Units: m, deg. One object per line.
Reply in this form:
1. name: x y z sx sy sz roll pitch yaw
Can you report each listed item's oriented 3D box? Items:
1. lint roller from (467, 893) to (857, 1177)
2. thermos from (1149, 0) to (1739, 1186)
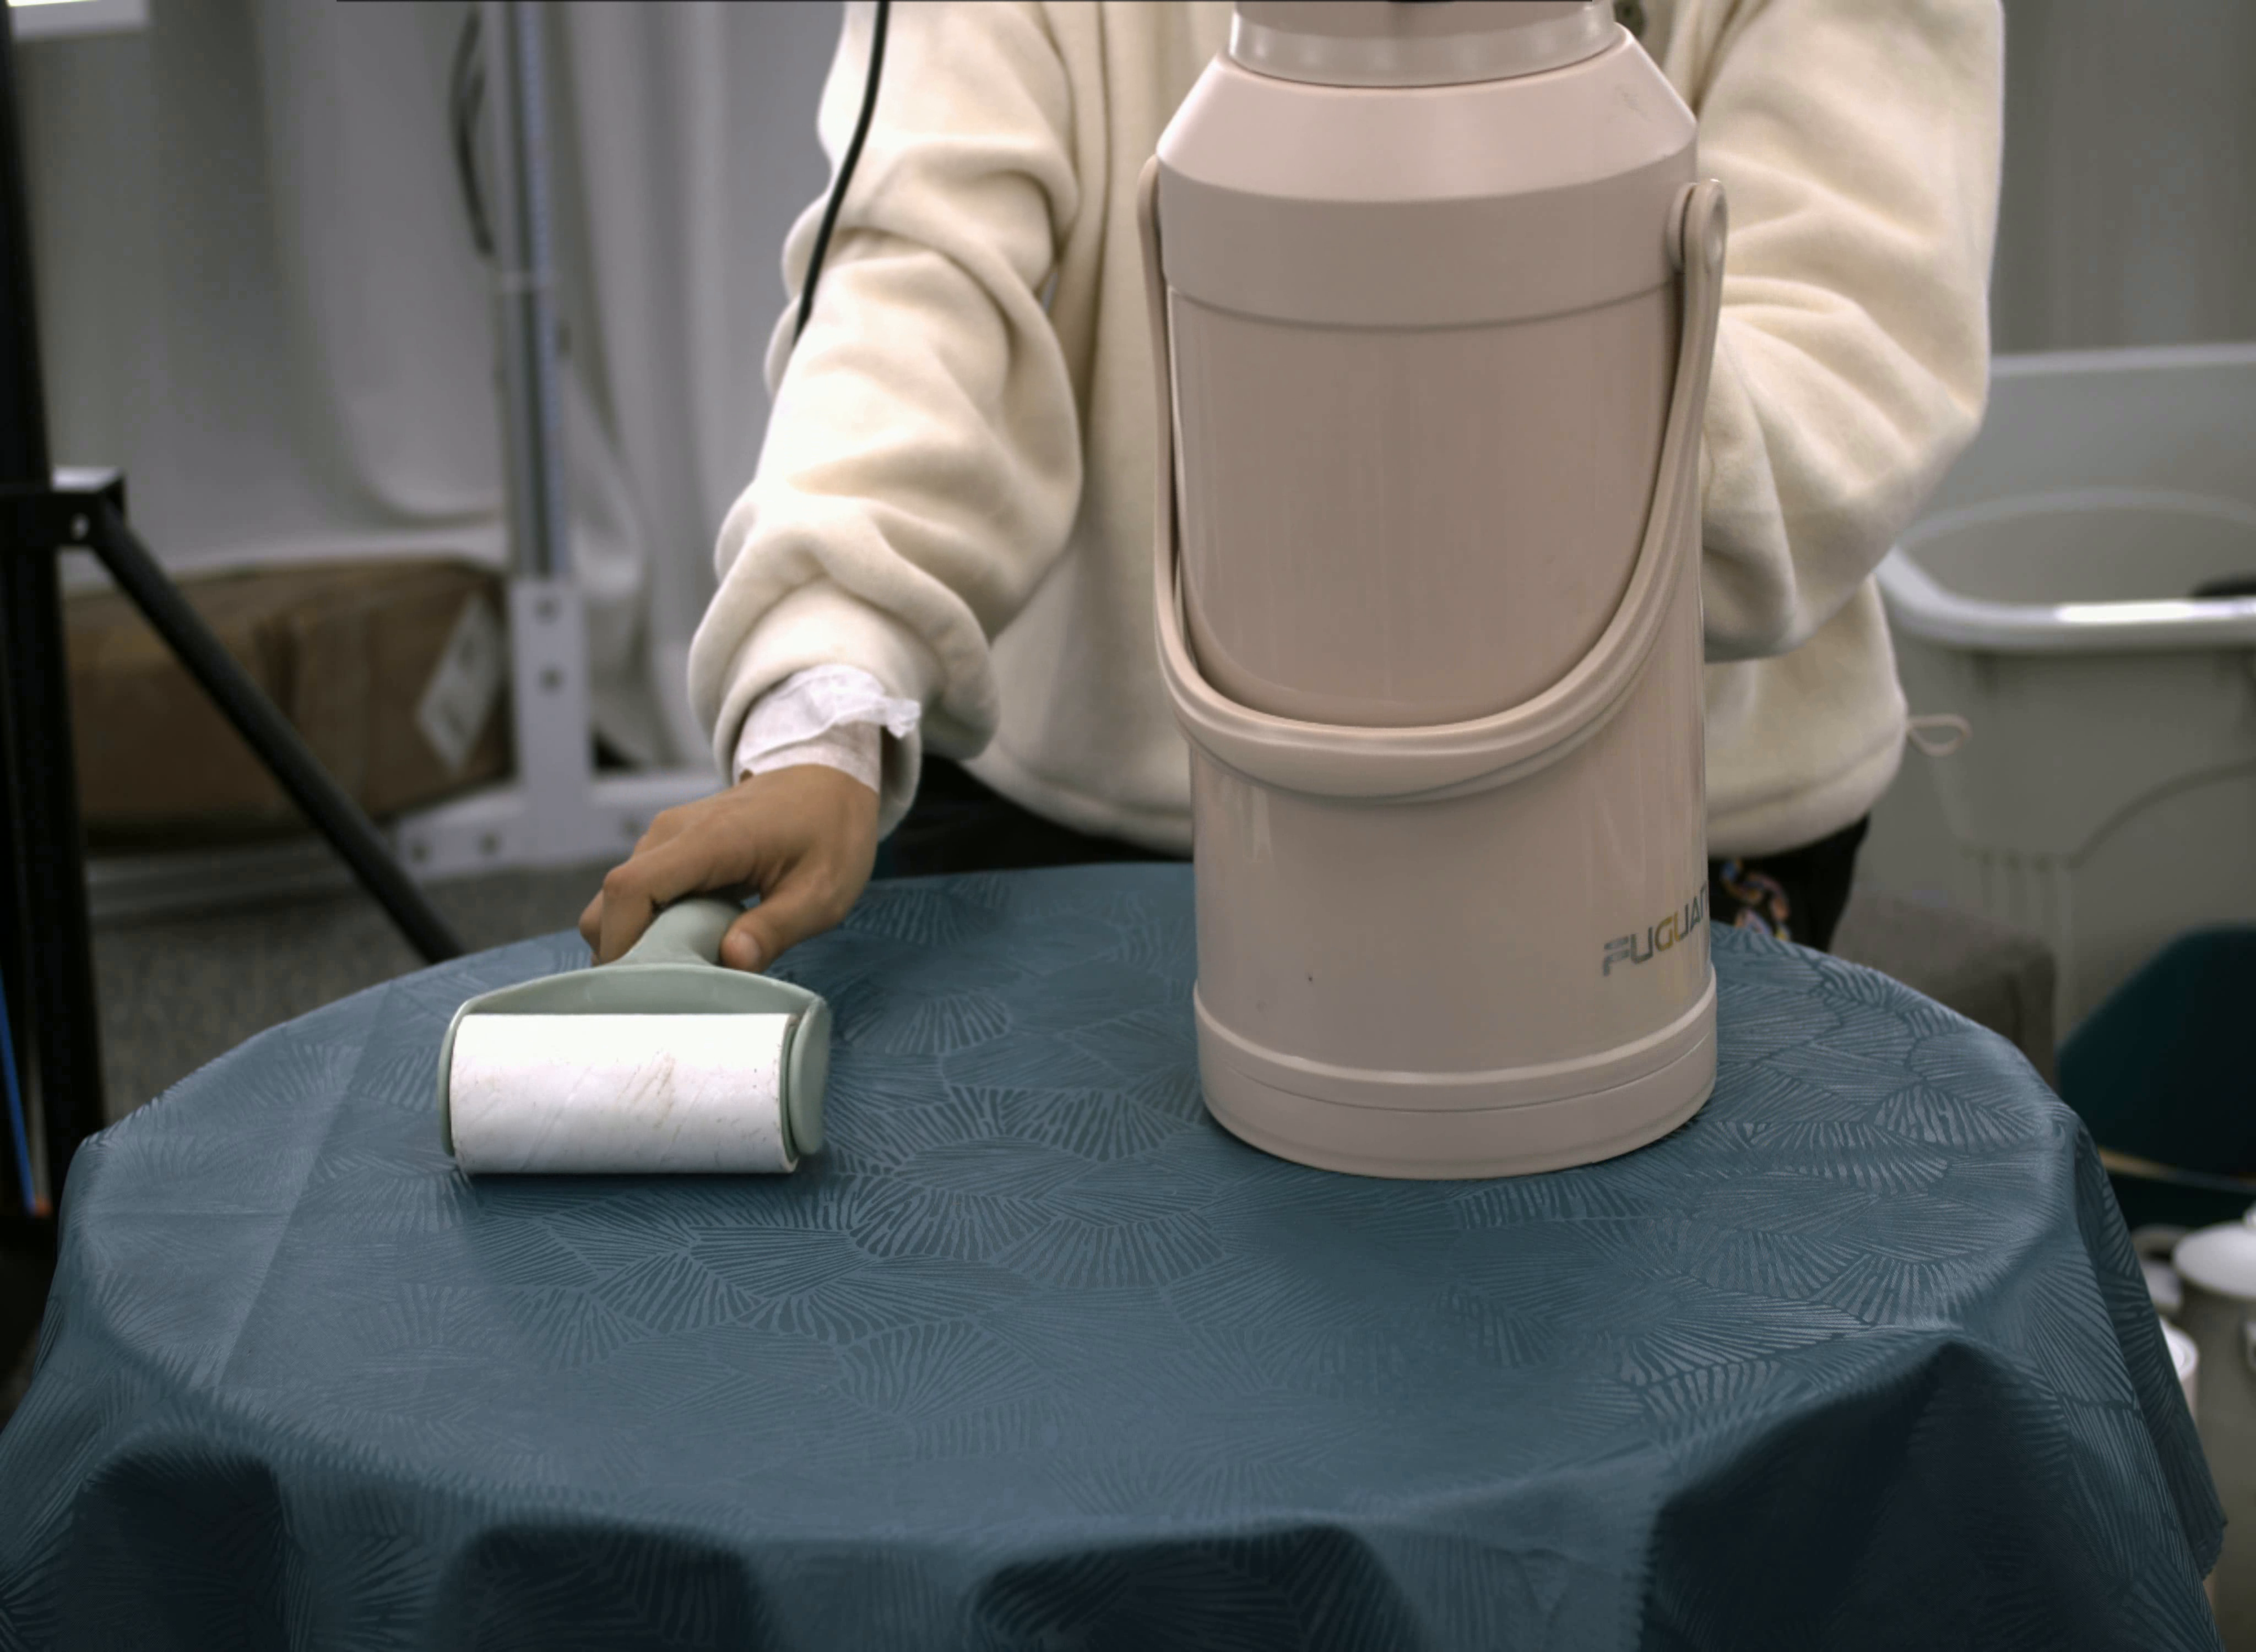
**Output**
1. lint roller: -0.133 0.053 1.661 0.117 0.048 0.197 -3 22 8
2. thermos: 0.099 -0.112 1.572 0.178 0.406 0.204 6 21 24
